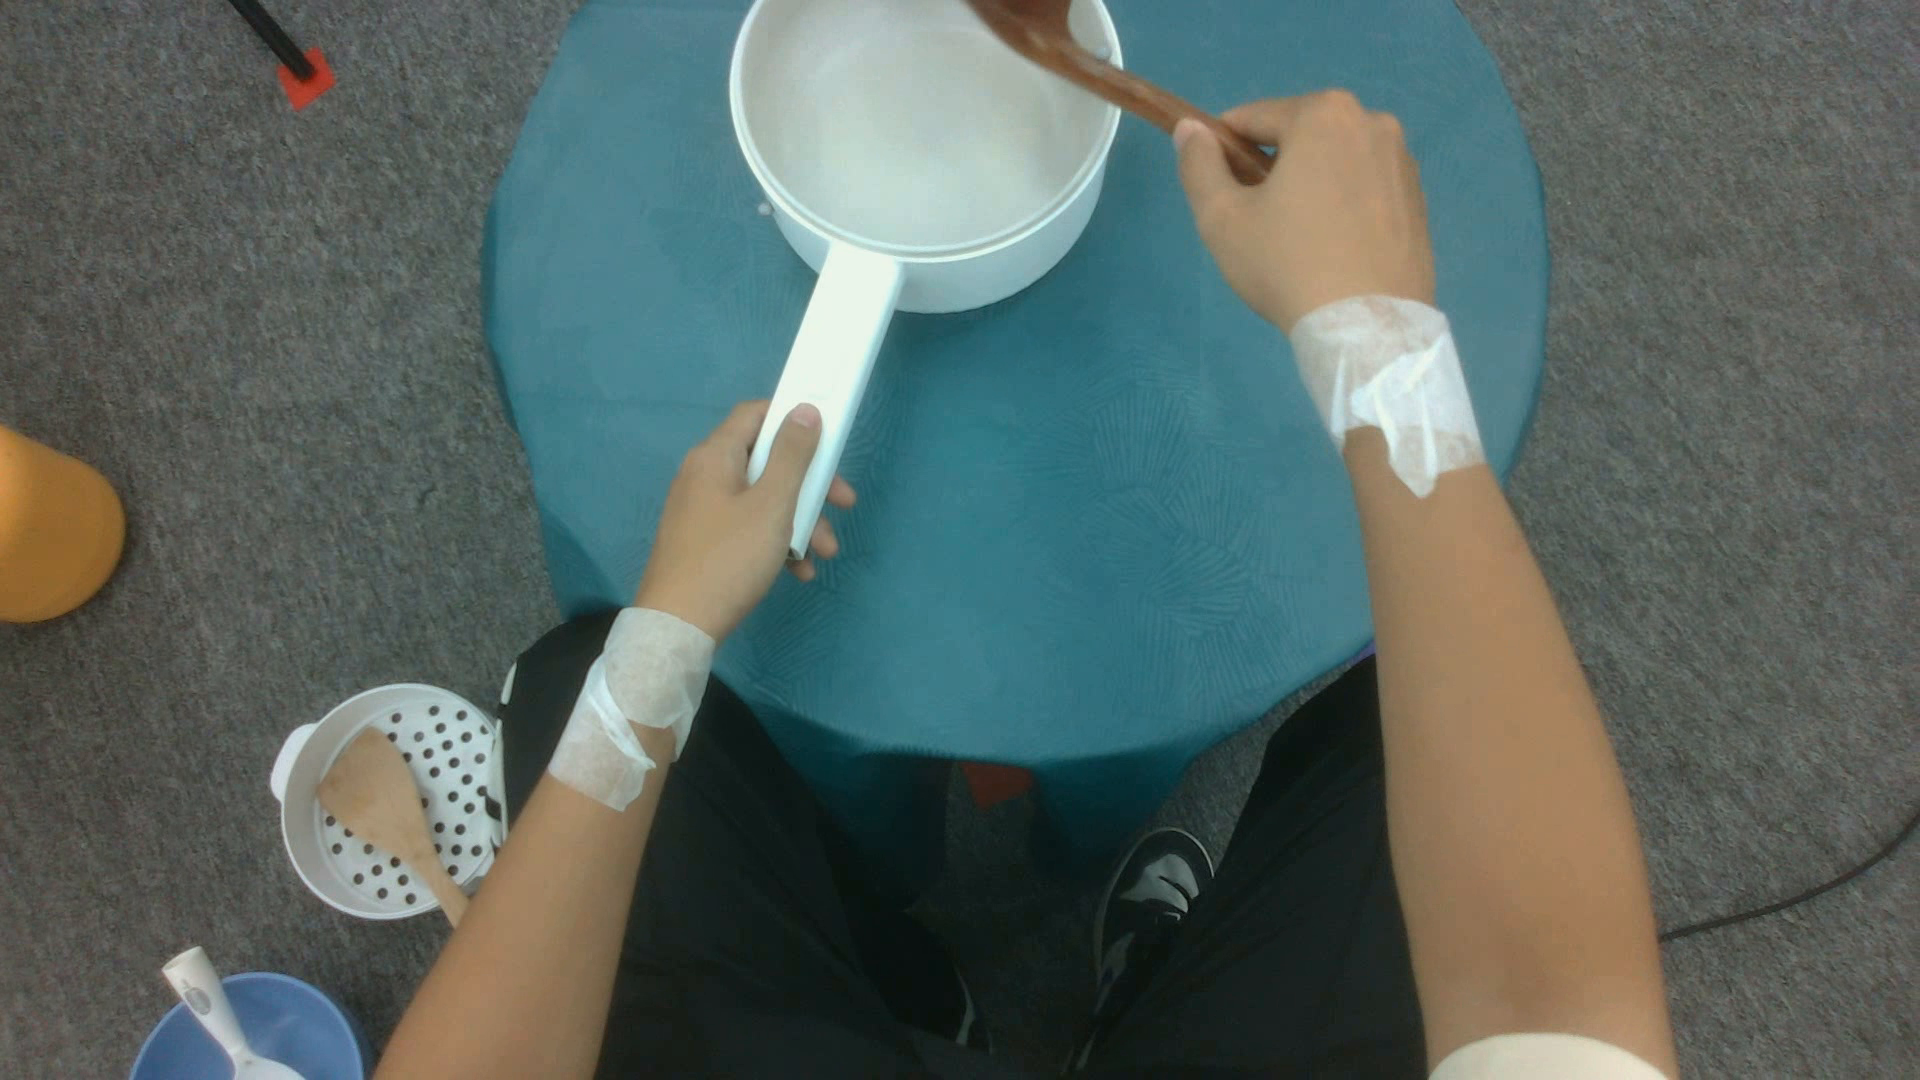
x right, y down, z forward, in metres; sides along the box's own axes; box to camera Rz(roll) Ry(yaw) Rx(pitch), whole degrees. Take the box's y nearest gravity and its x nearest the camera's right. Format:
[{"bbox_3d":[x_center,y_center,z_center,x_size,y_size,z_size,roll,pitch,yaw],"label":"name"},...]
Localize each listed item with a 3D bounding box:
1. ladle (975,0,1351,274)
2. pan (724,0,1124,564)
[{"bbox_3d":[0.090,-0.221,0.618,0.082,0.076,0.274,-13,46,-34],"label":"ladle"},{"bbox_3d":[-0.037,-0.150,0.747,0.201,0.102,0.355,18,77,6],"label":"pan"}]
